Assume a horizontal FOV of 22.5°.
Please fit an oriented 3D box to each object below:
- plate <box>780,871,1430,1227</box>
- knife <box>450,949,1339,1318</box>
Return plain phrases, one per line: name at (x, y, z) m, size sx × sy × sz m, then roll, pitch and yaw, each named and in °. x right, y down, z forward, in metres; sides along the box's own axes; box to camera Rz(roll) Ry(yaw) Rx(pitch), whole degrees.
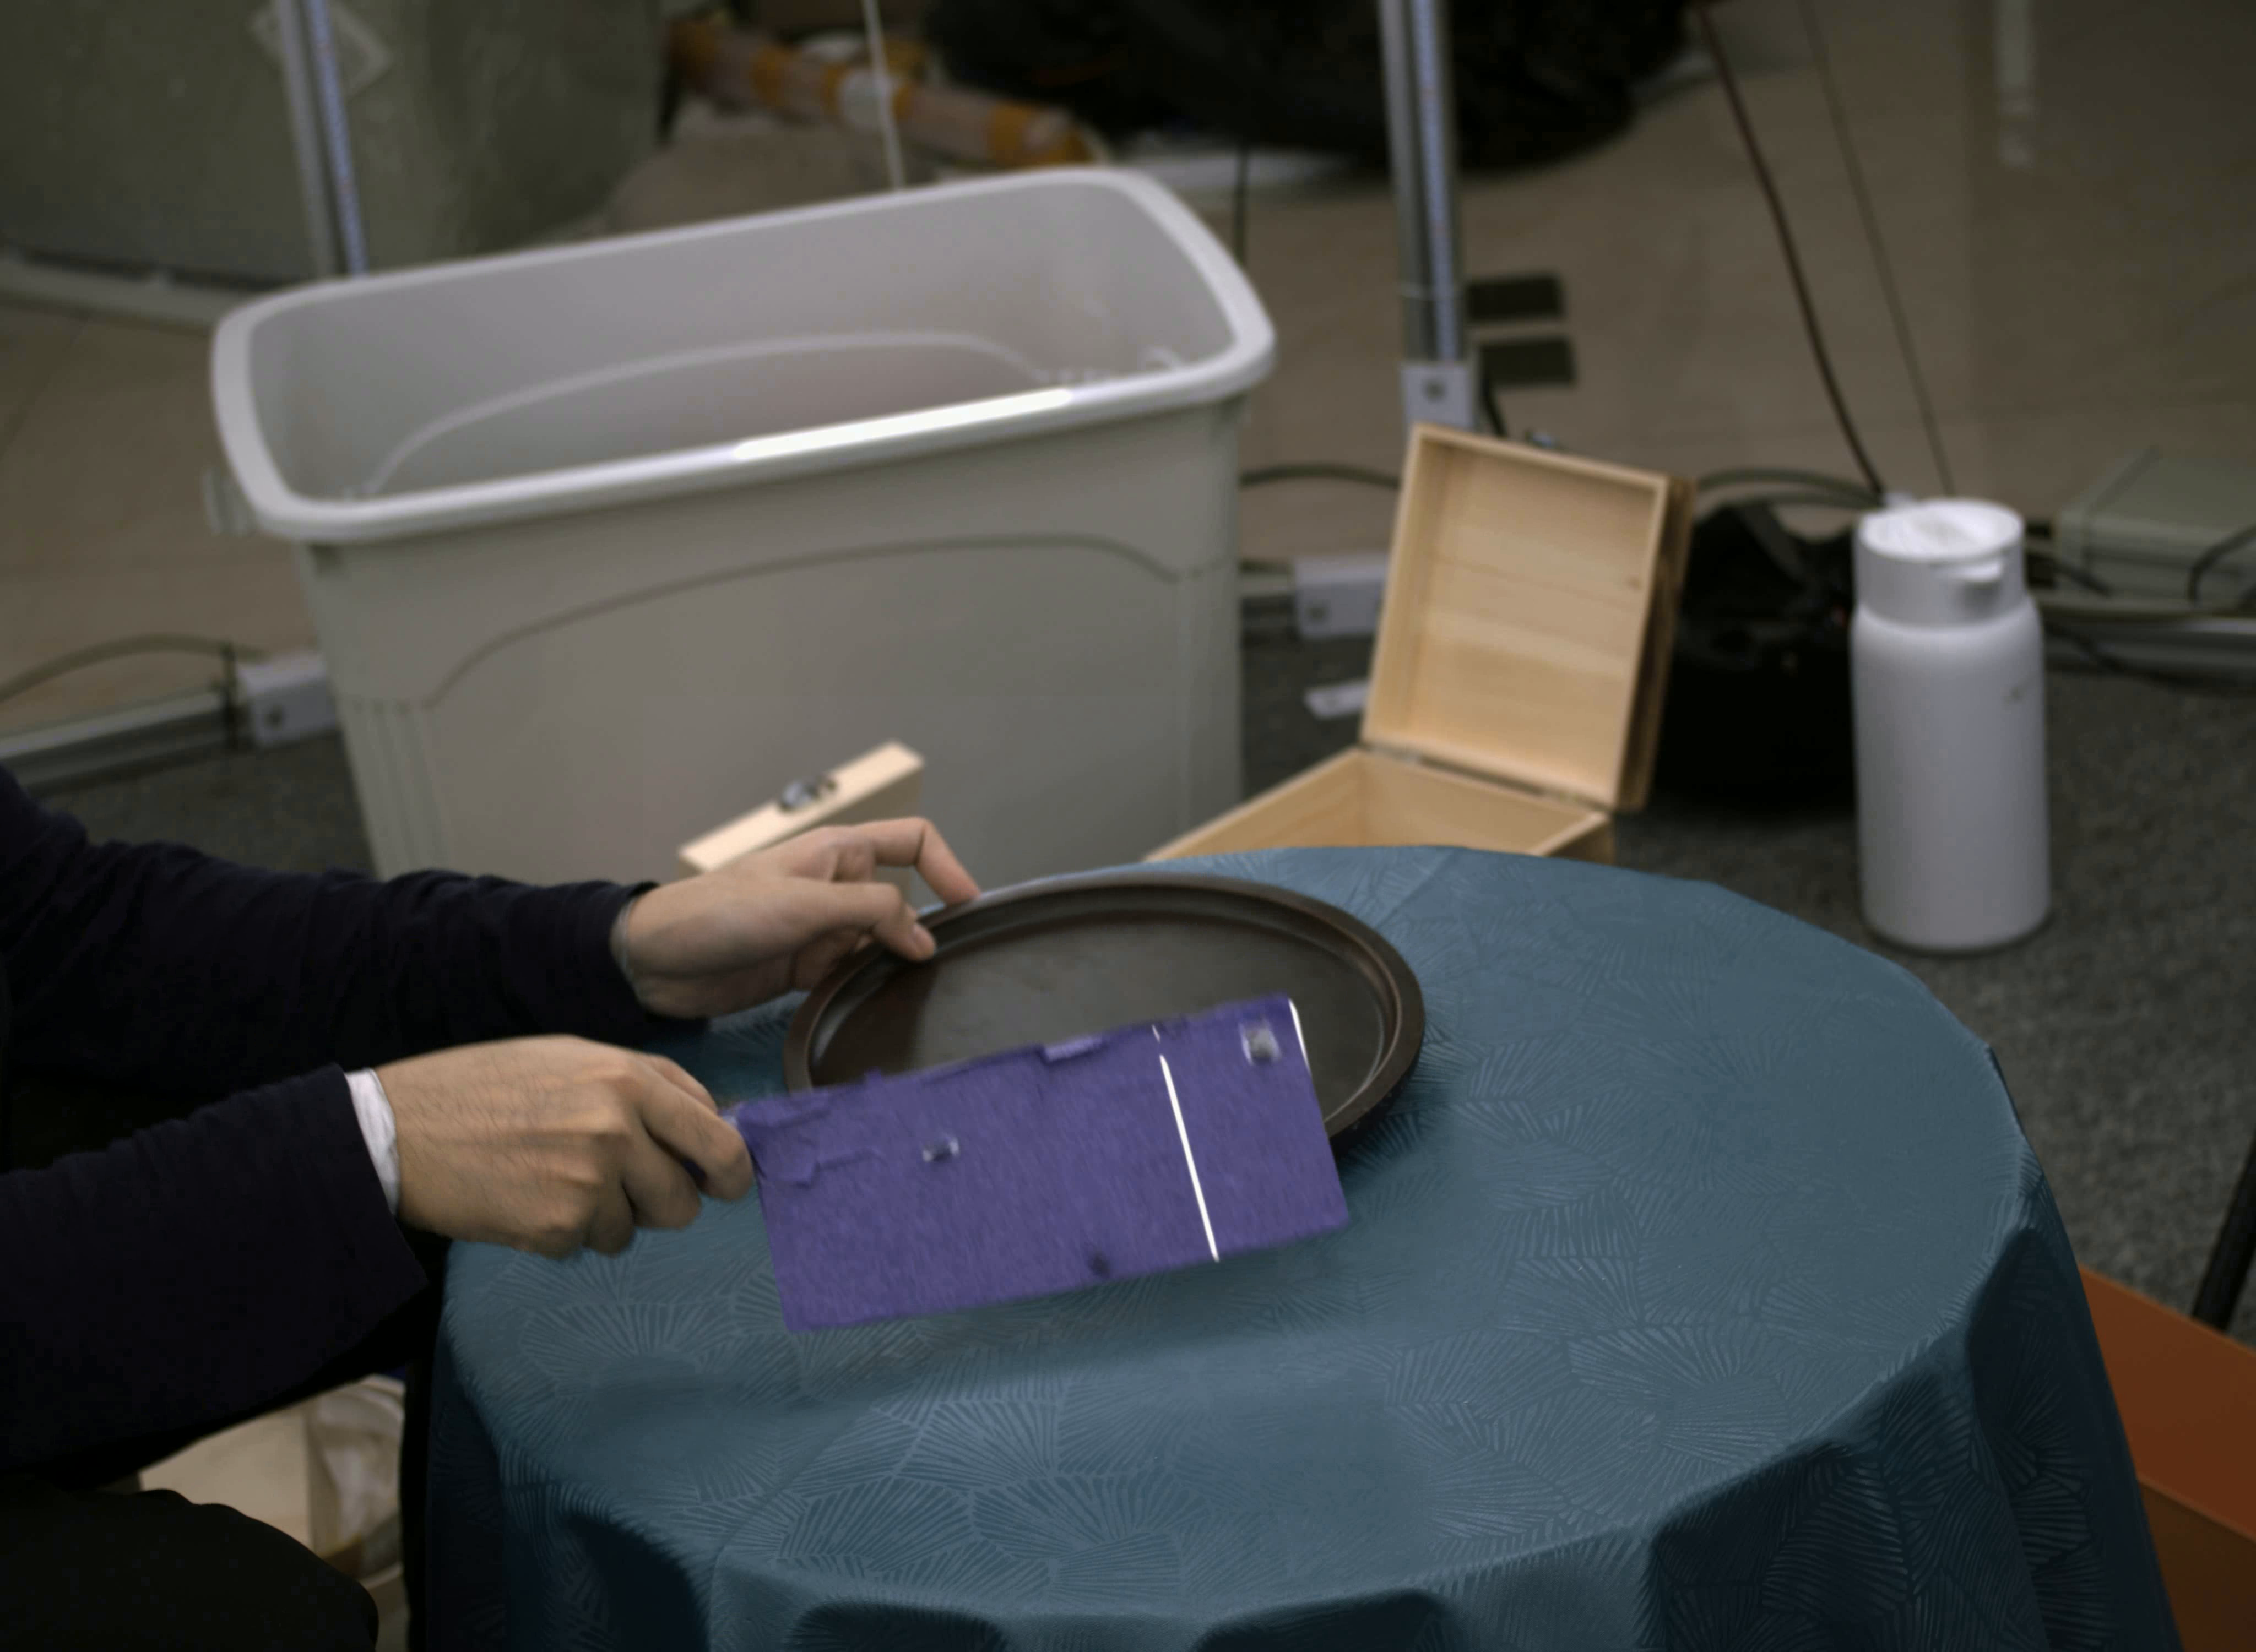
plate at (-0.008, 0.086, 2.217) m, size 0.254 × 0.029 × 0.250 m, roll -3°, pitch 30°, yaw 2°
knife at (-0.083, 0.124, 2.044) m, size 0.314 × 0.103 × 0.032 m, roll -13°, pitch -17°, yaw -4°
